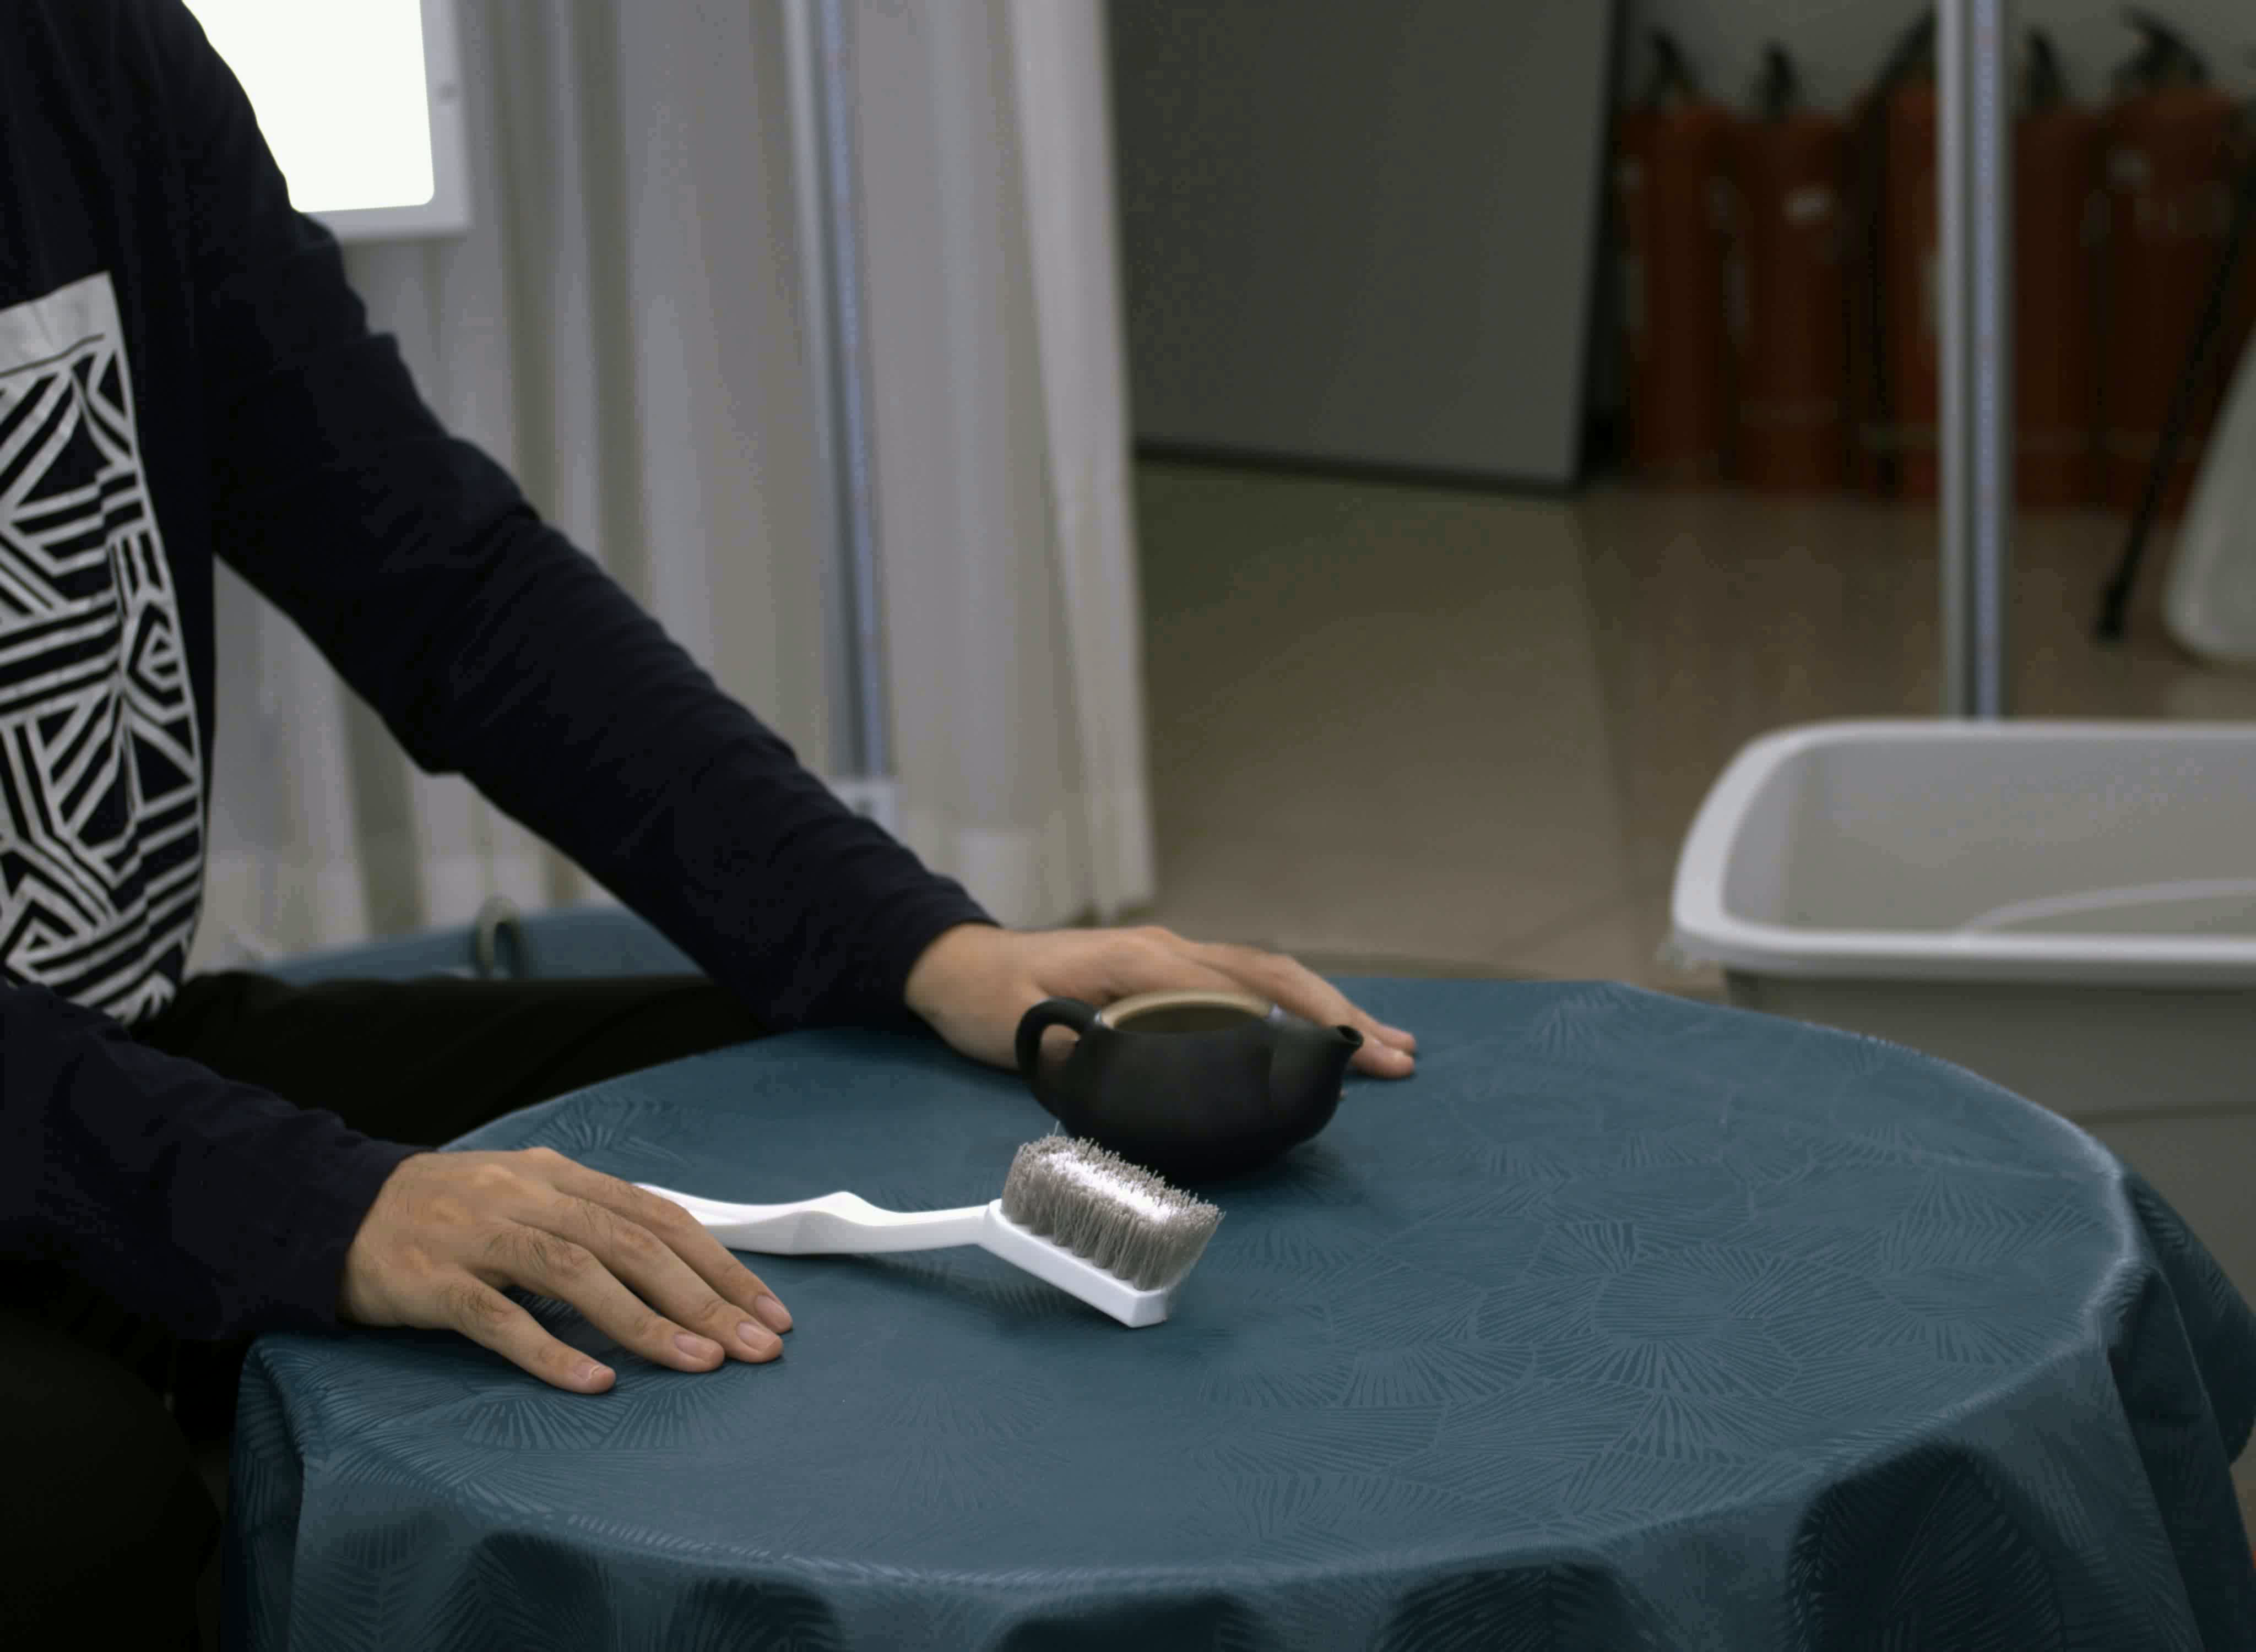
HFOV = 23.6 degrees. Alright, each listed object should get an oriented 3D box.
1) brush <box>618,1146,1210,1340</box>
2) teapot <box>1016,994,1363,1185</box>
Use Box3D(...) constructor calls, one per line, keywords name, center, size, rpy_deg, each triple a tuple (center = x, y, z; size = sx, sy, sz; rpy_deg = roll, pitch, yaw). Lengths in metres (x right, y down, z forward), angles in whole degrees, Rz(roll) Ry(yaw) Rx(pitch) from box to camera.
Box3D(name="brush", center=(-0.074, 0.118, 1.711), size=(0.245, 0.051, 0.034), rpy_deg=(8, 22, 40))
Box3D(name="teapot", center=(0.020, 0.088, 1.796), size=(0.134, 0.053, 0.089), rpy_deg=(4, 13, 31))
